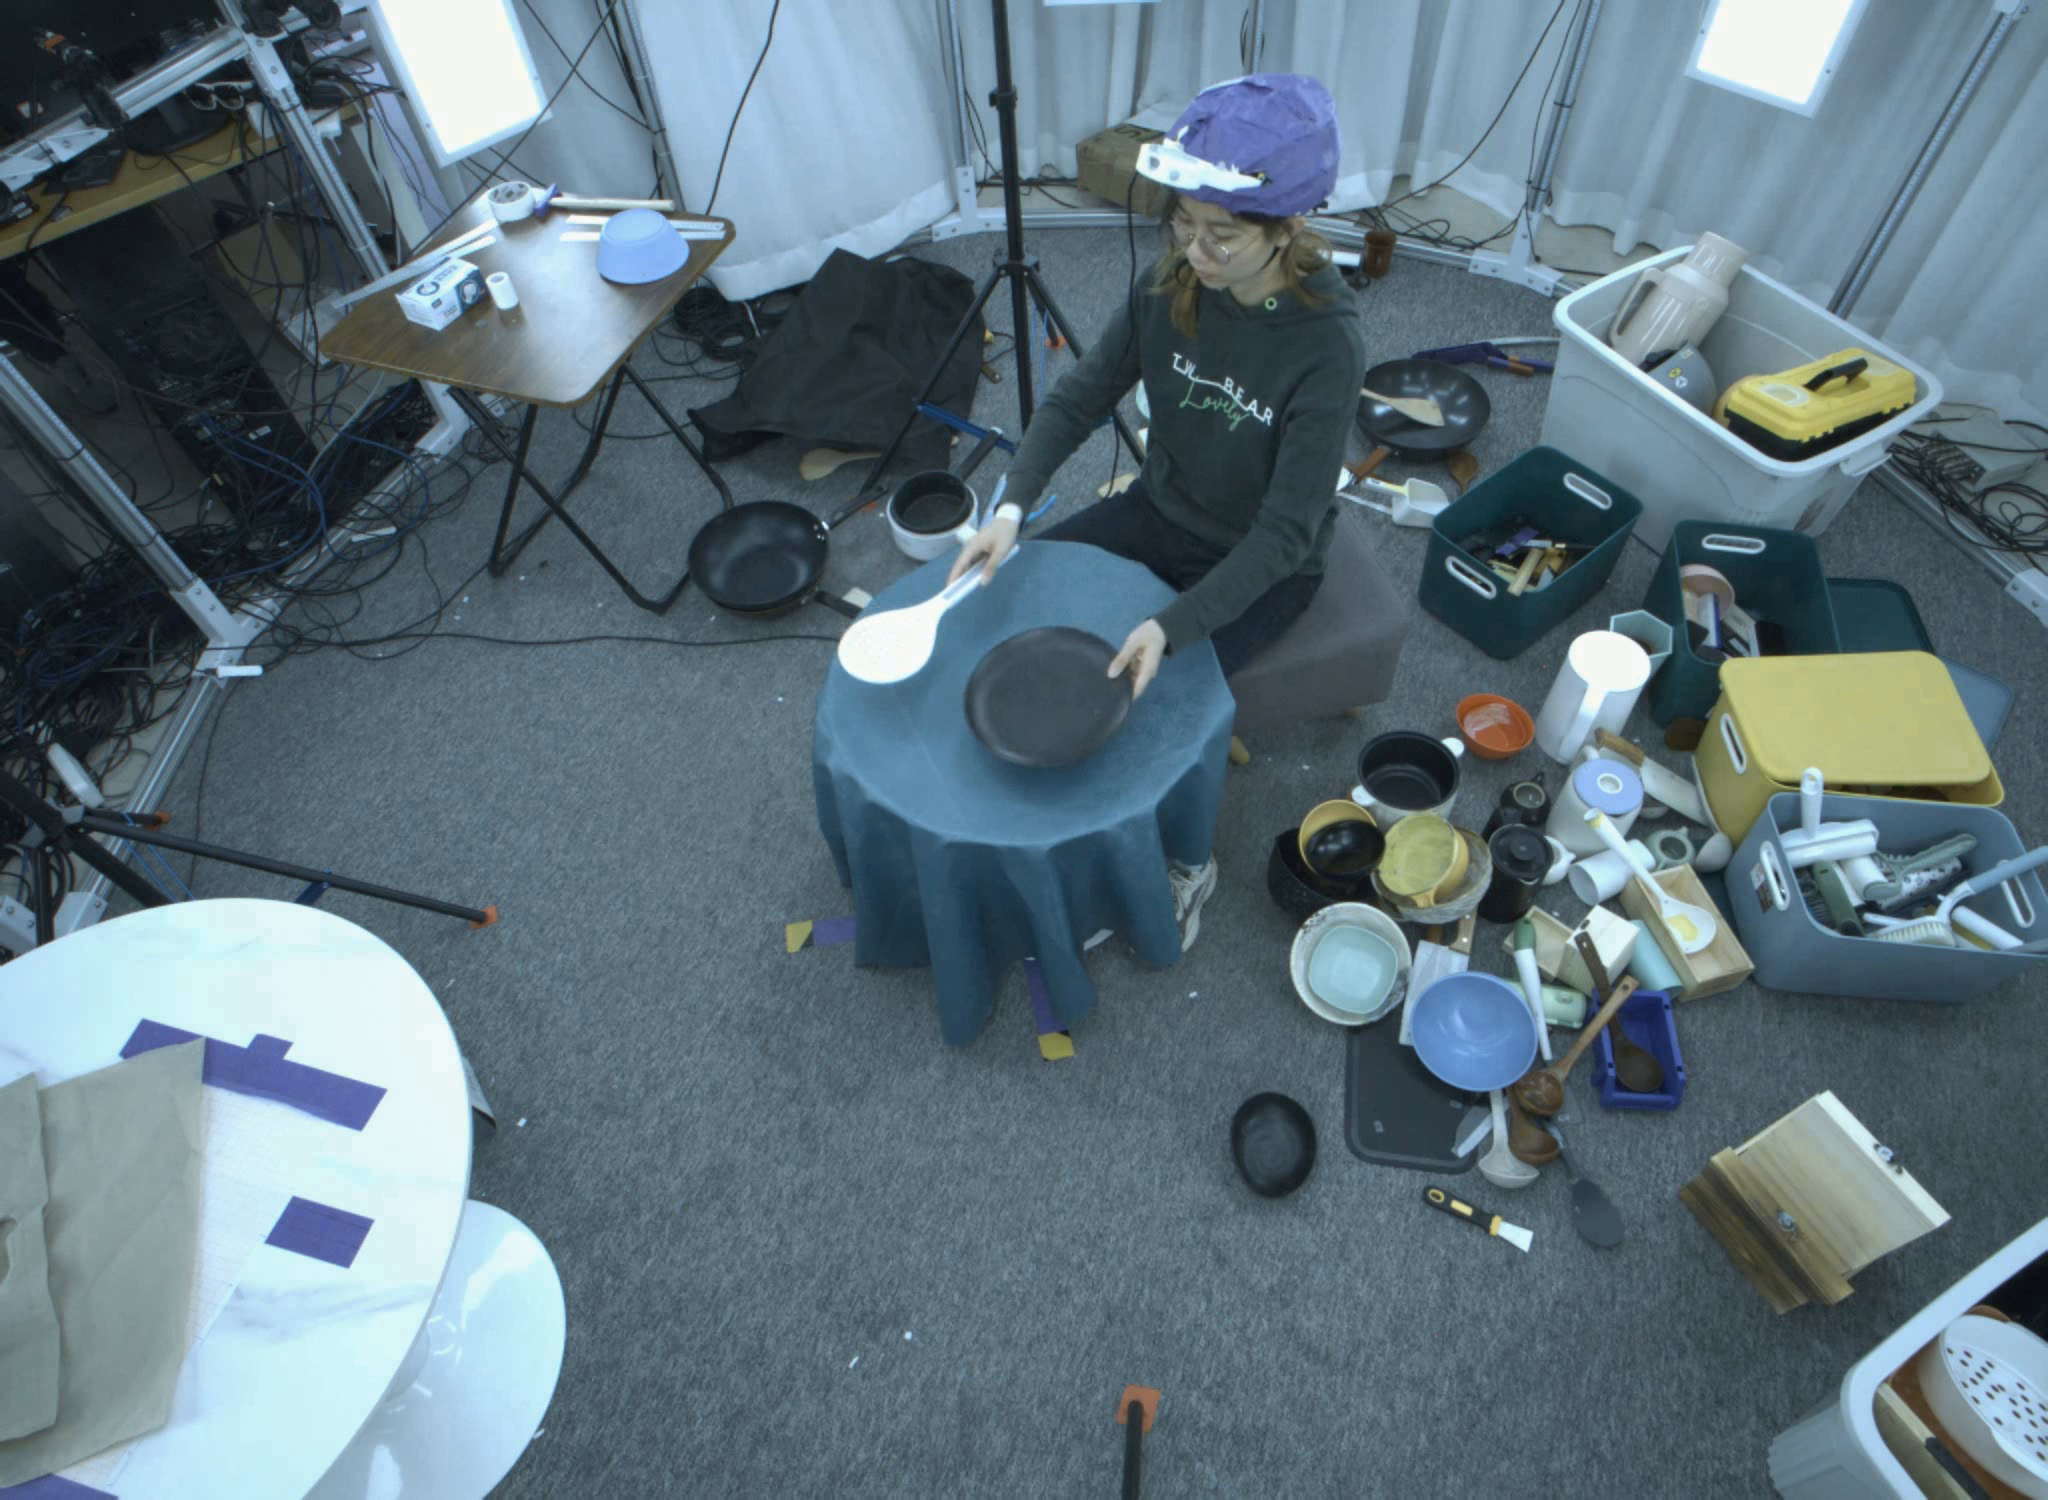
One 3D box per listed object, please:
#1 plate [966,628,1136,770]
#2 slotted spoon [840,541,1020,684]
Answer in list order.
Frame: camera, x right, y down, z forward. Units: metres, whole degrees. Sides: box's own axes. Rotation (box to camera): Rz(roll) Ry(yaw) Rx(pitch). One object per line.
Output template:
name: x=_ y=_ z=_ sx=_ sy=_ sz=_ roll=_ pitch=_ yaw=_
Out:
plate: x=0.038 y=-0.071 z=1.756 sx=0.243 sy=0.024 sz=0.242 roll=-3 pitch=59 yaw=6
slotted spoon: x=-0.130 y=-0.212 z=1.835 sx=0.134 sy=0.046 sz=0.351 roll=34 pitch=65 yaw=23
